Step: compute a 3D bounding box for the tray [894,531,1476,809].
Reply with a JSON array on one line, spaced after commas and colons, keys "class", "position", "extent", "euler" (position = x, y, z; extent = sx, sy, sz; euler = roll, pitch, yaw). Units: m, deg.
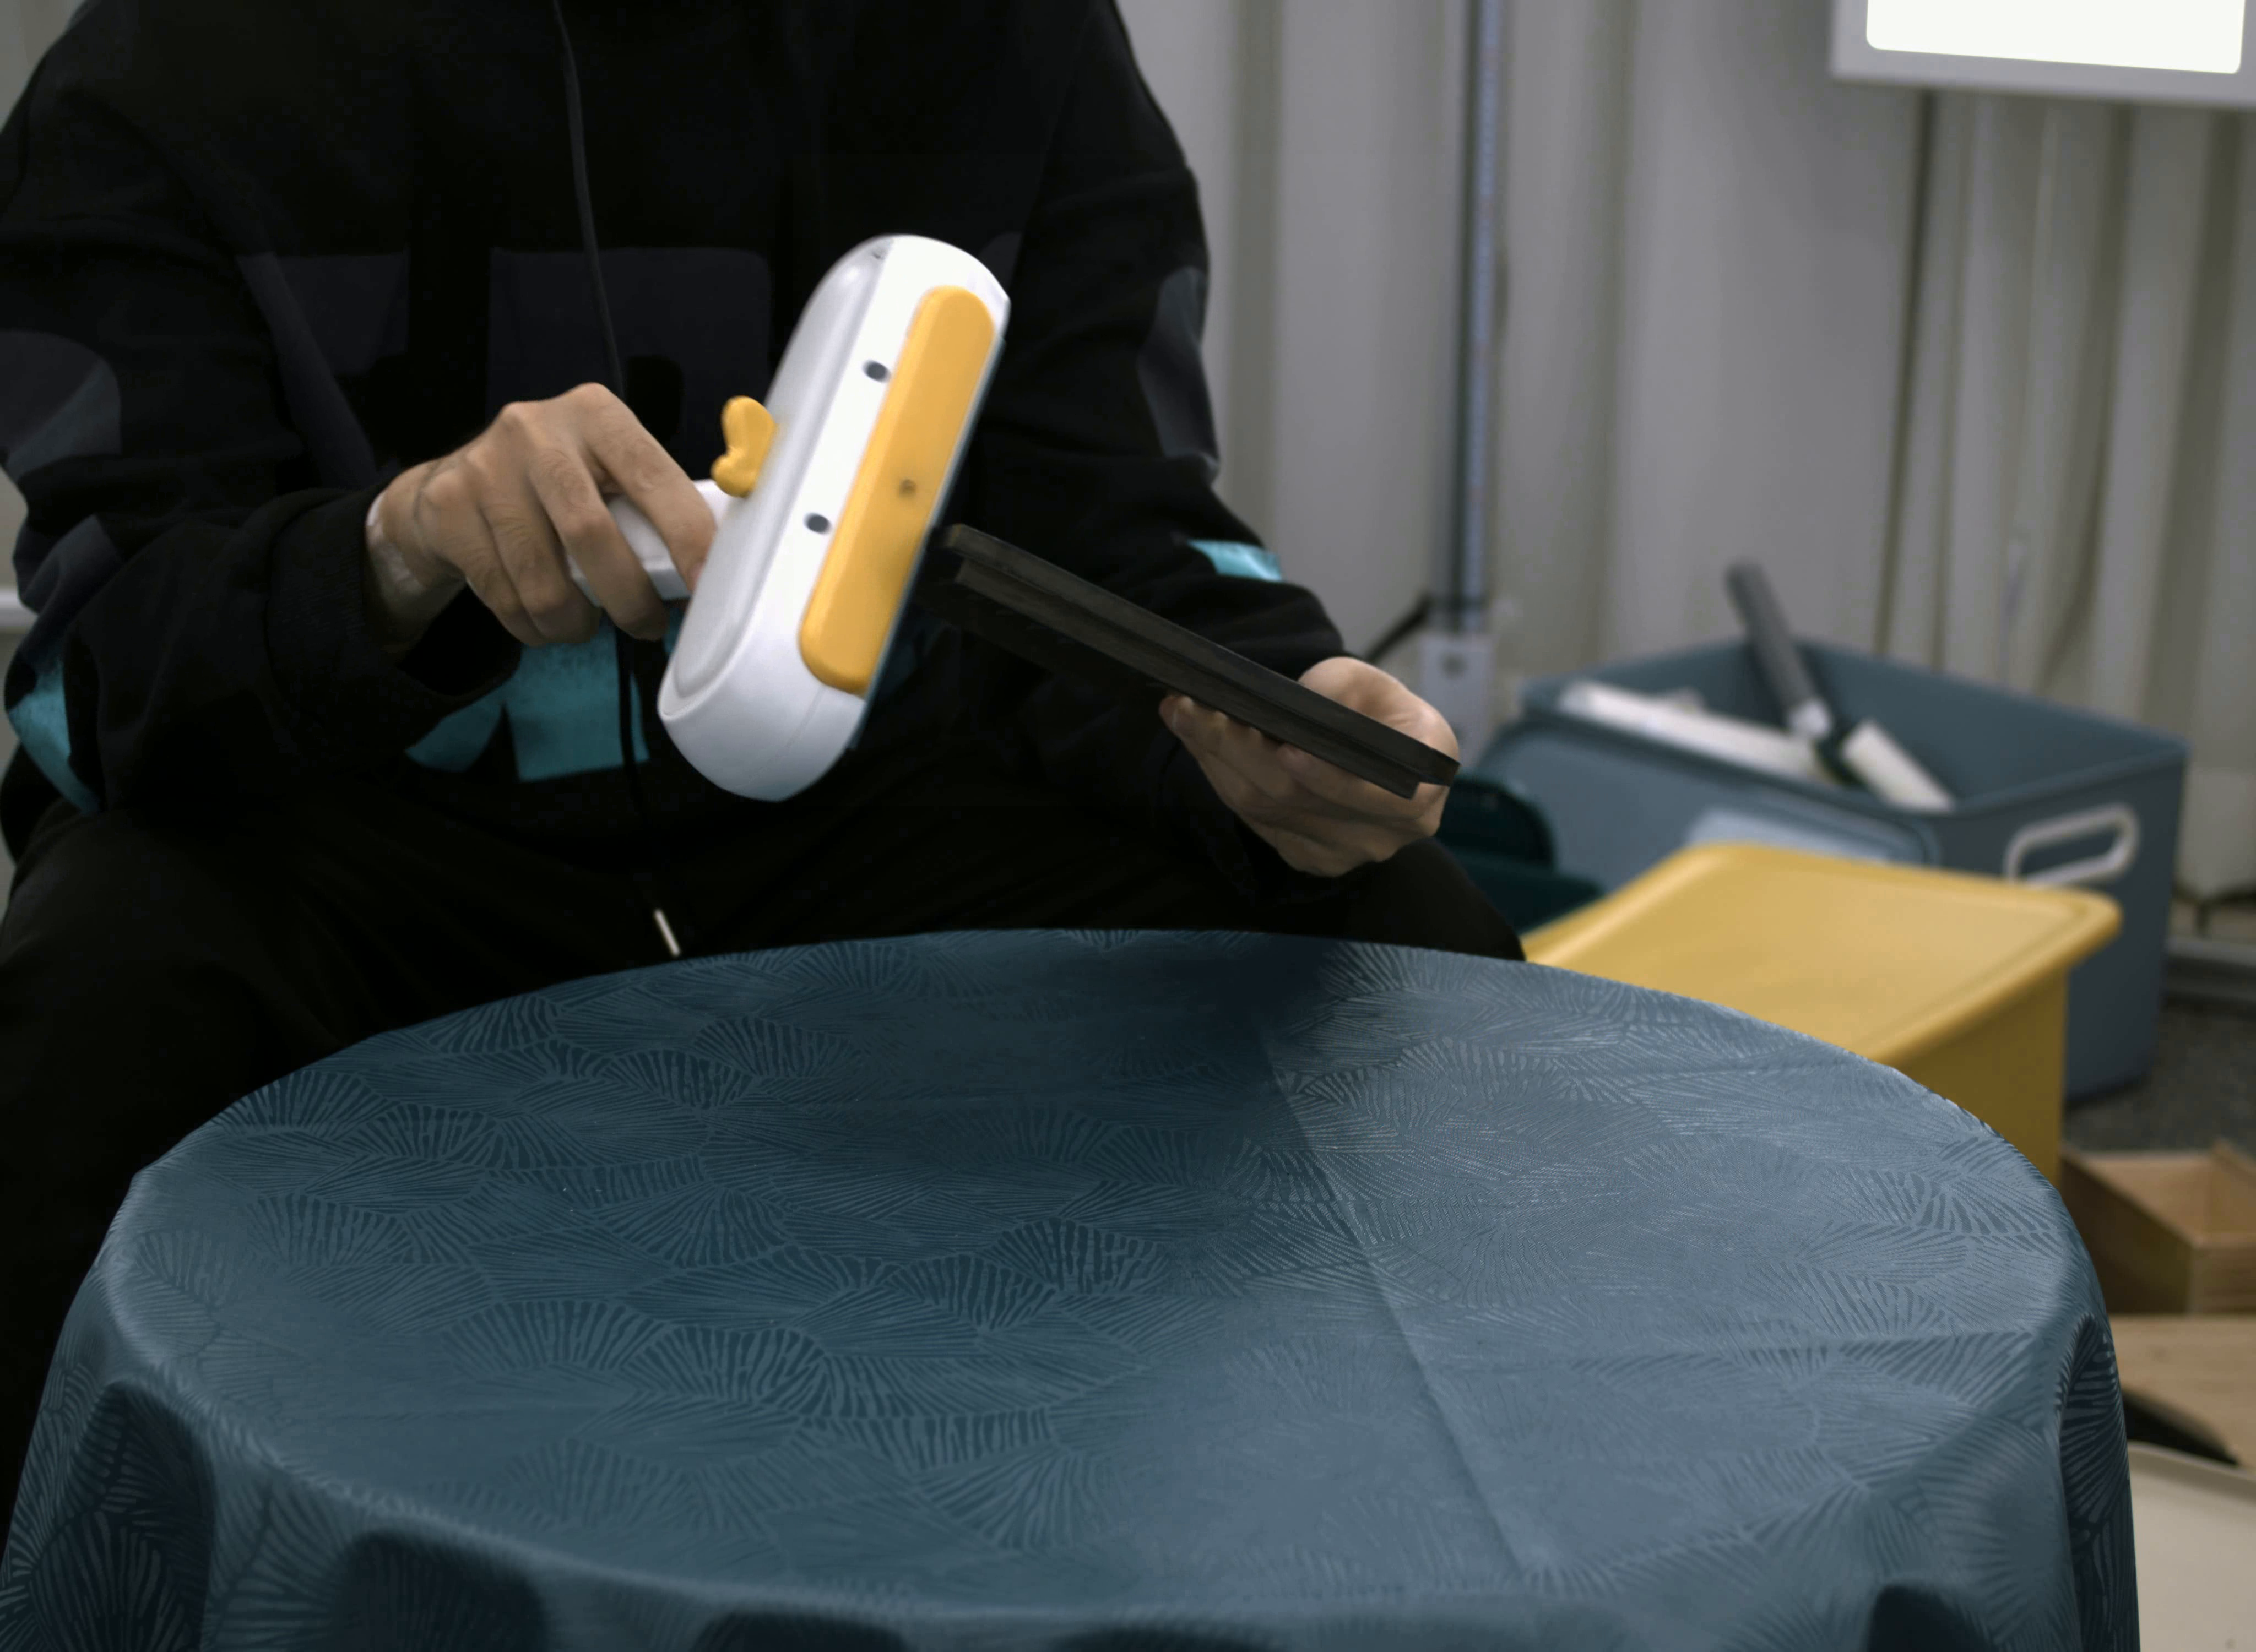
[{"class": "tray", "position": [0.008, -0.049, 1.716], "extent": [0.170, 0.018, 0.305], "euler": [25, -2, -8]}]

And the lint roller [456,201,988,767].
[{"class": "lint roller", "position": [-0.135, -0.095, 1.652], "extent": [0.075, 0.192, 0.191], "euler": [30, -34, -32]}]
